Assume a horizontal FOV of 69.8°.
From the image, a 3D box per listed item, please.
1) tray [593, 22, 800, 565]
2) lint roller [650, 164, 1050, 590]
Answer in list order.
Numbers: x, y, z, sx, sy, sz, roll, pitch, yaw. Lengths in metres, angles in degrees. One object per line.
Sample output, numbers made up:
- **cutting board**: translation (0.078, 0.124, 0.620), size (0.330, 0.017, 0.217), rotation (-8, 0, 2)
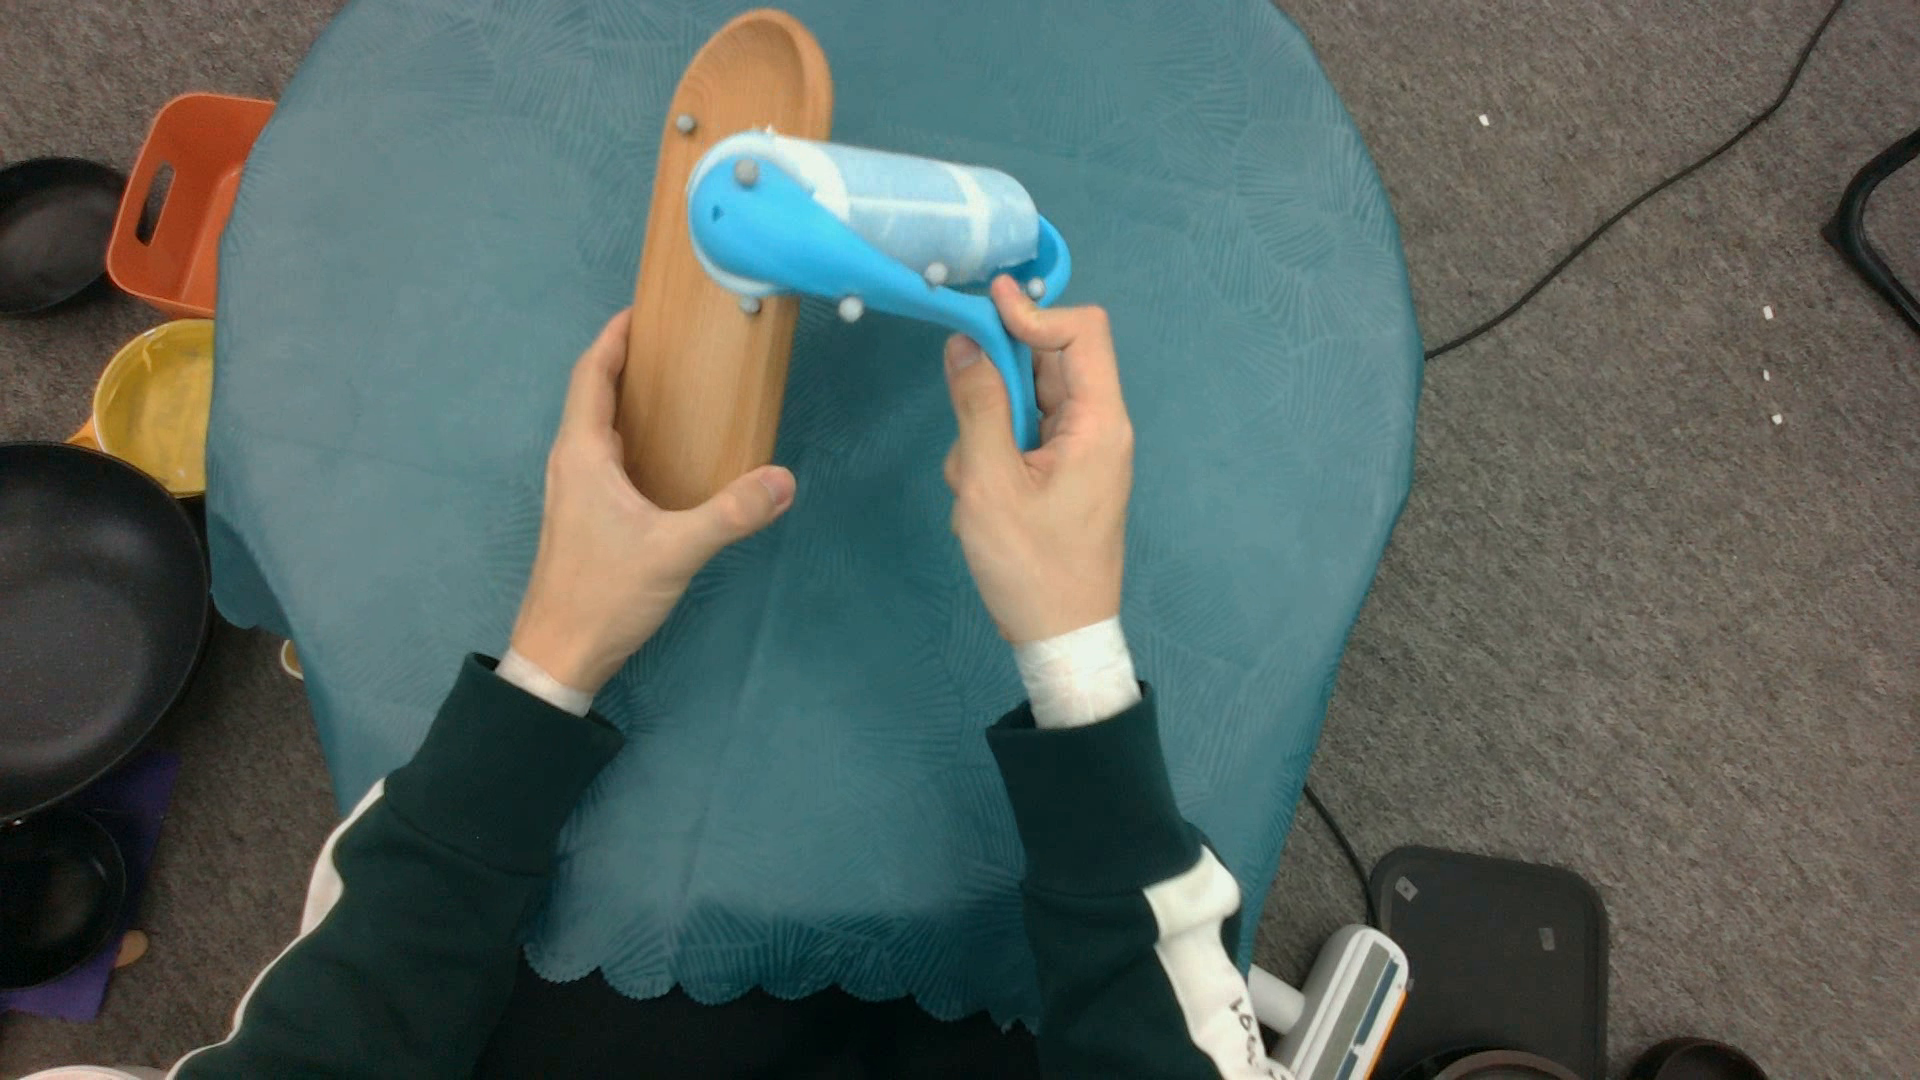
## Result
- **tray**: translation (-0.113, -0.104, 0.586), size (0.020, 0.101, 0.231), rotation (6, 90, -48)
- **lint roller**: translation (-0.010, -0.072, 0.556), size (0.067, 0.230, 0.180), rotation (-33, 87, 29)
